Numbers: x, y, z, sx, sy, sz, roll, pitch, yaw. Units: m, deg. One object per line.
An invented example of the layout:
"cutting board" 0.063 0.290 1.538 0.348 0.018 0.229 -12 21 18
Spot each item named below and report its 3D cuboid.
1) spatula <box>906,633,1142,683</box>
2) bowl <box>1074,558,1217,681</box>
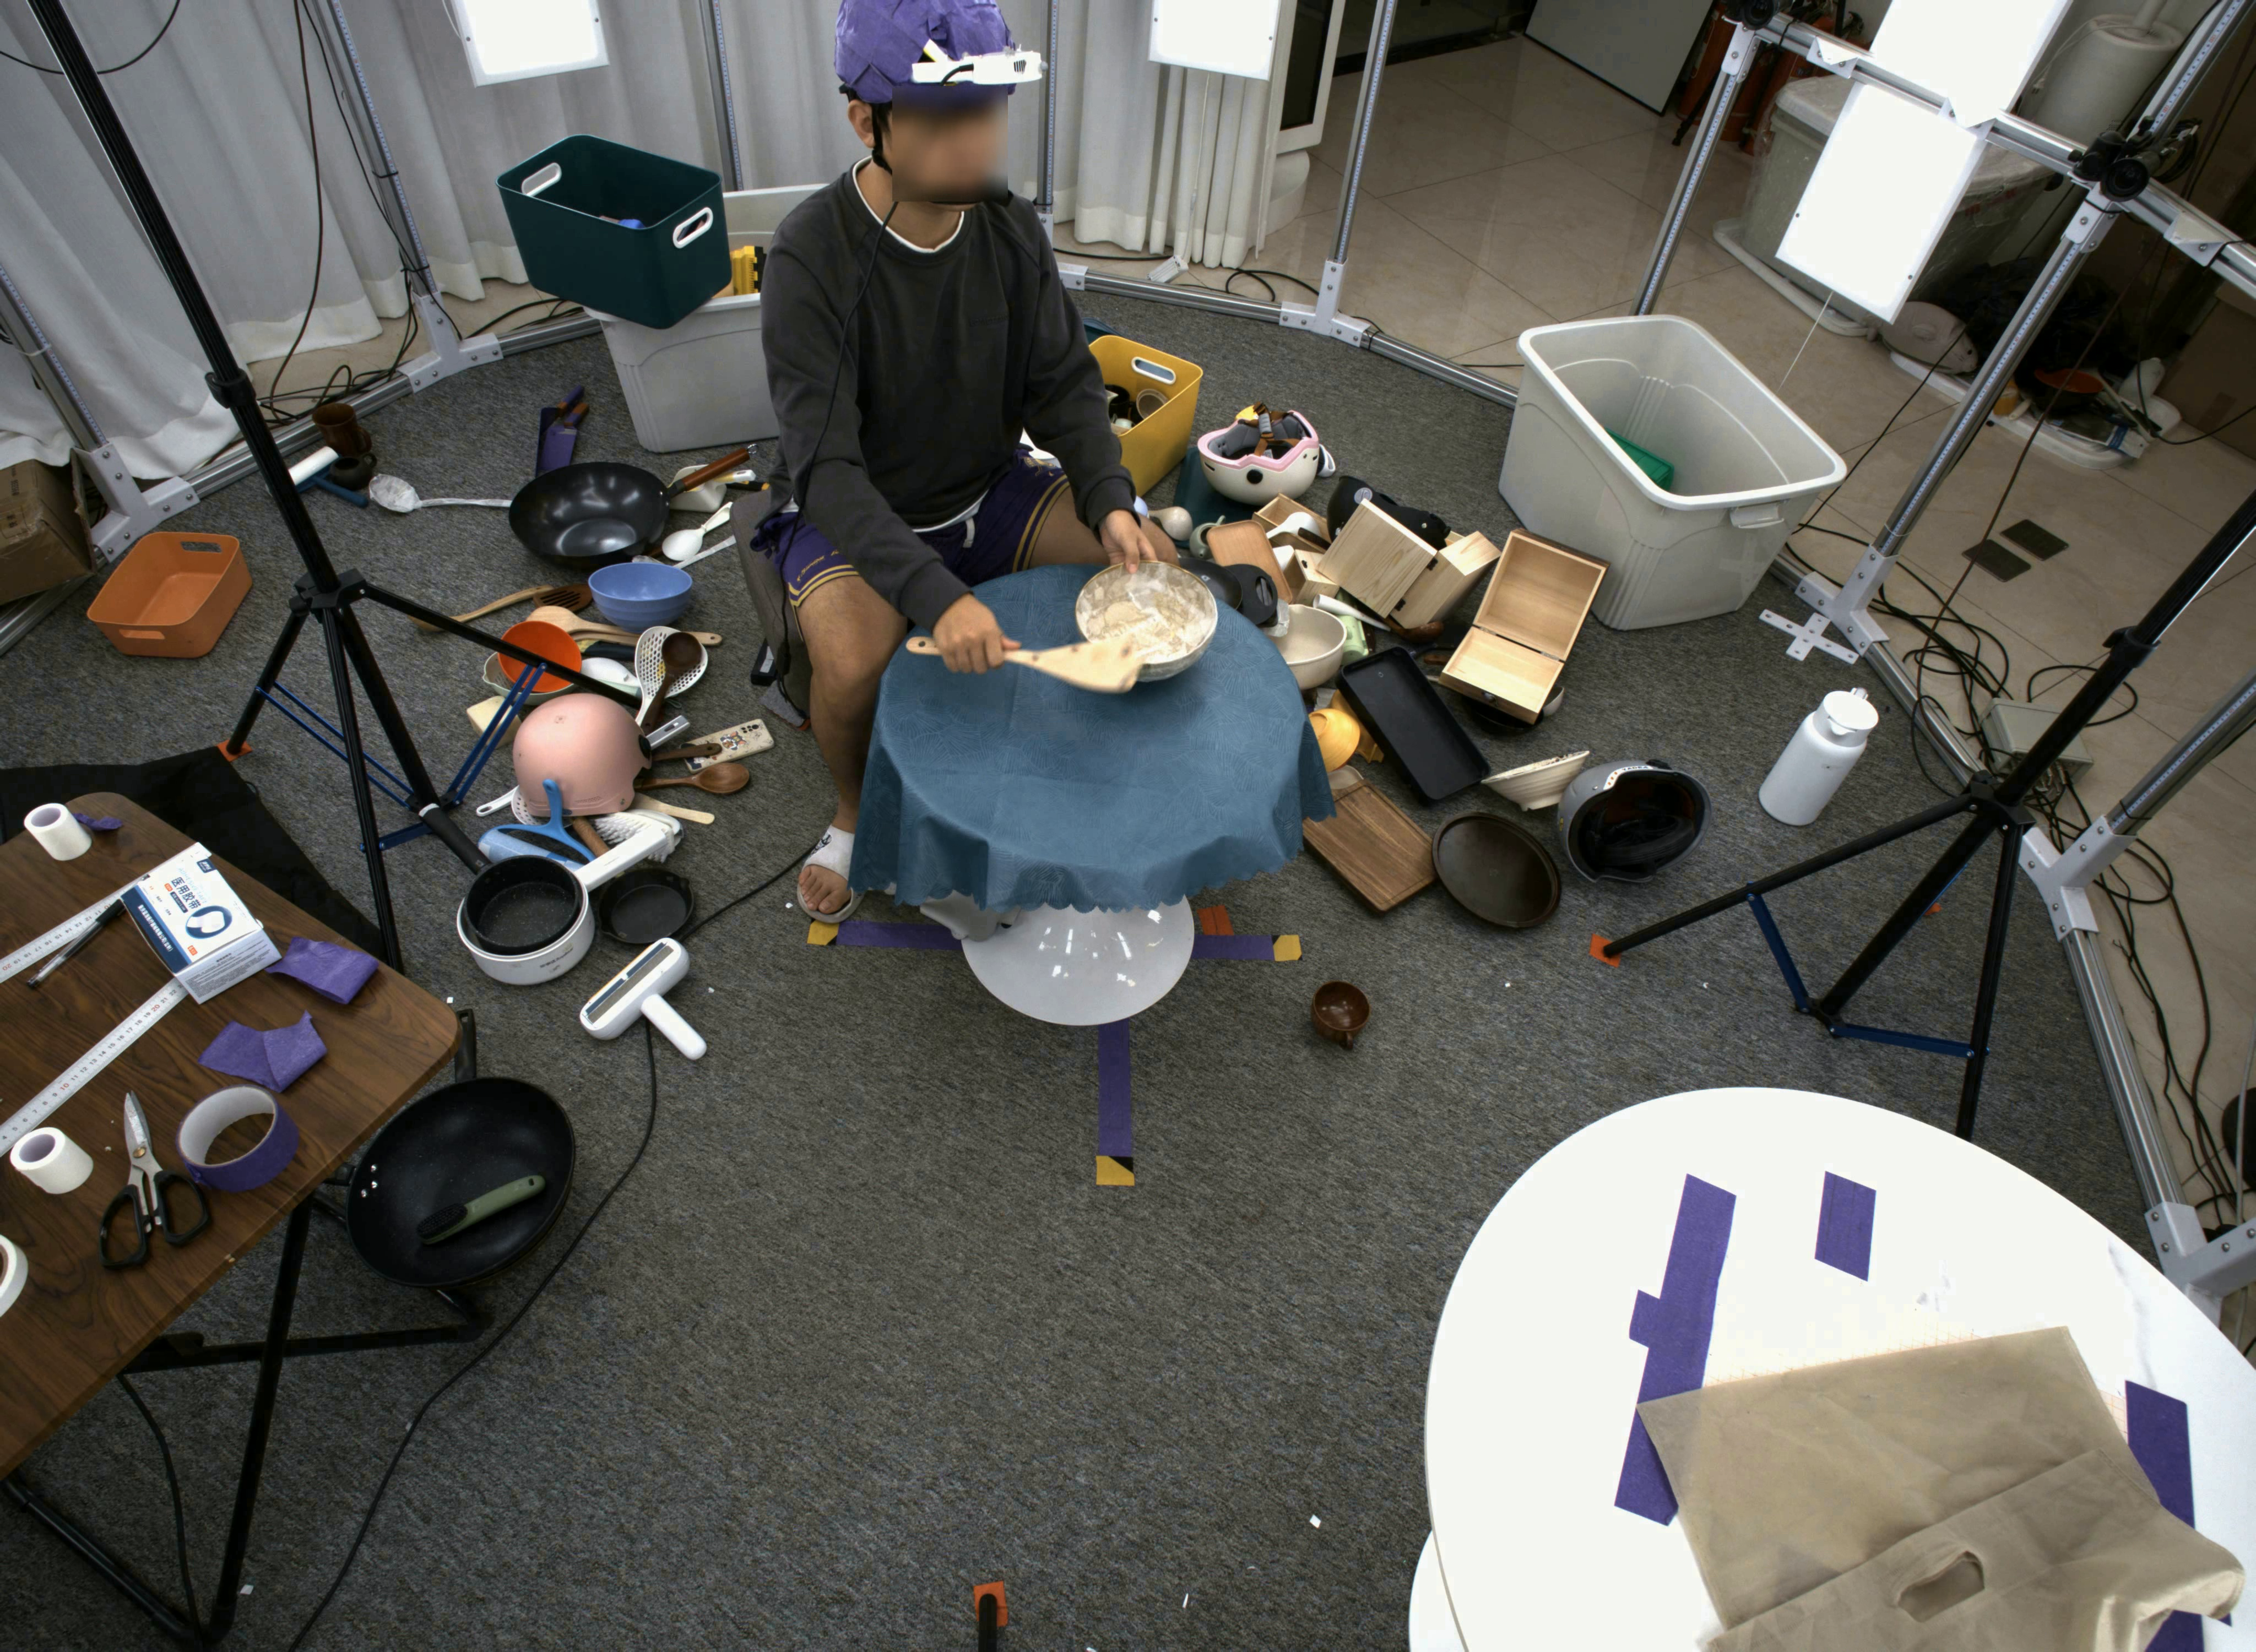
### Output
"spatula" -0.139 -0.234 1.716 0.328 0.016 0.081 5 61 9
"bowl" 0.023 -0.284 1.849 0.214 0.092 0.220 0 55 0
